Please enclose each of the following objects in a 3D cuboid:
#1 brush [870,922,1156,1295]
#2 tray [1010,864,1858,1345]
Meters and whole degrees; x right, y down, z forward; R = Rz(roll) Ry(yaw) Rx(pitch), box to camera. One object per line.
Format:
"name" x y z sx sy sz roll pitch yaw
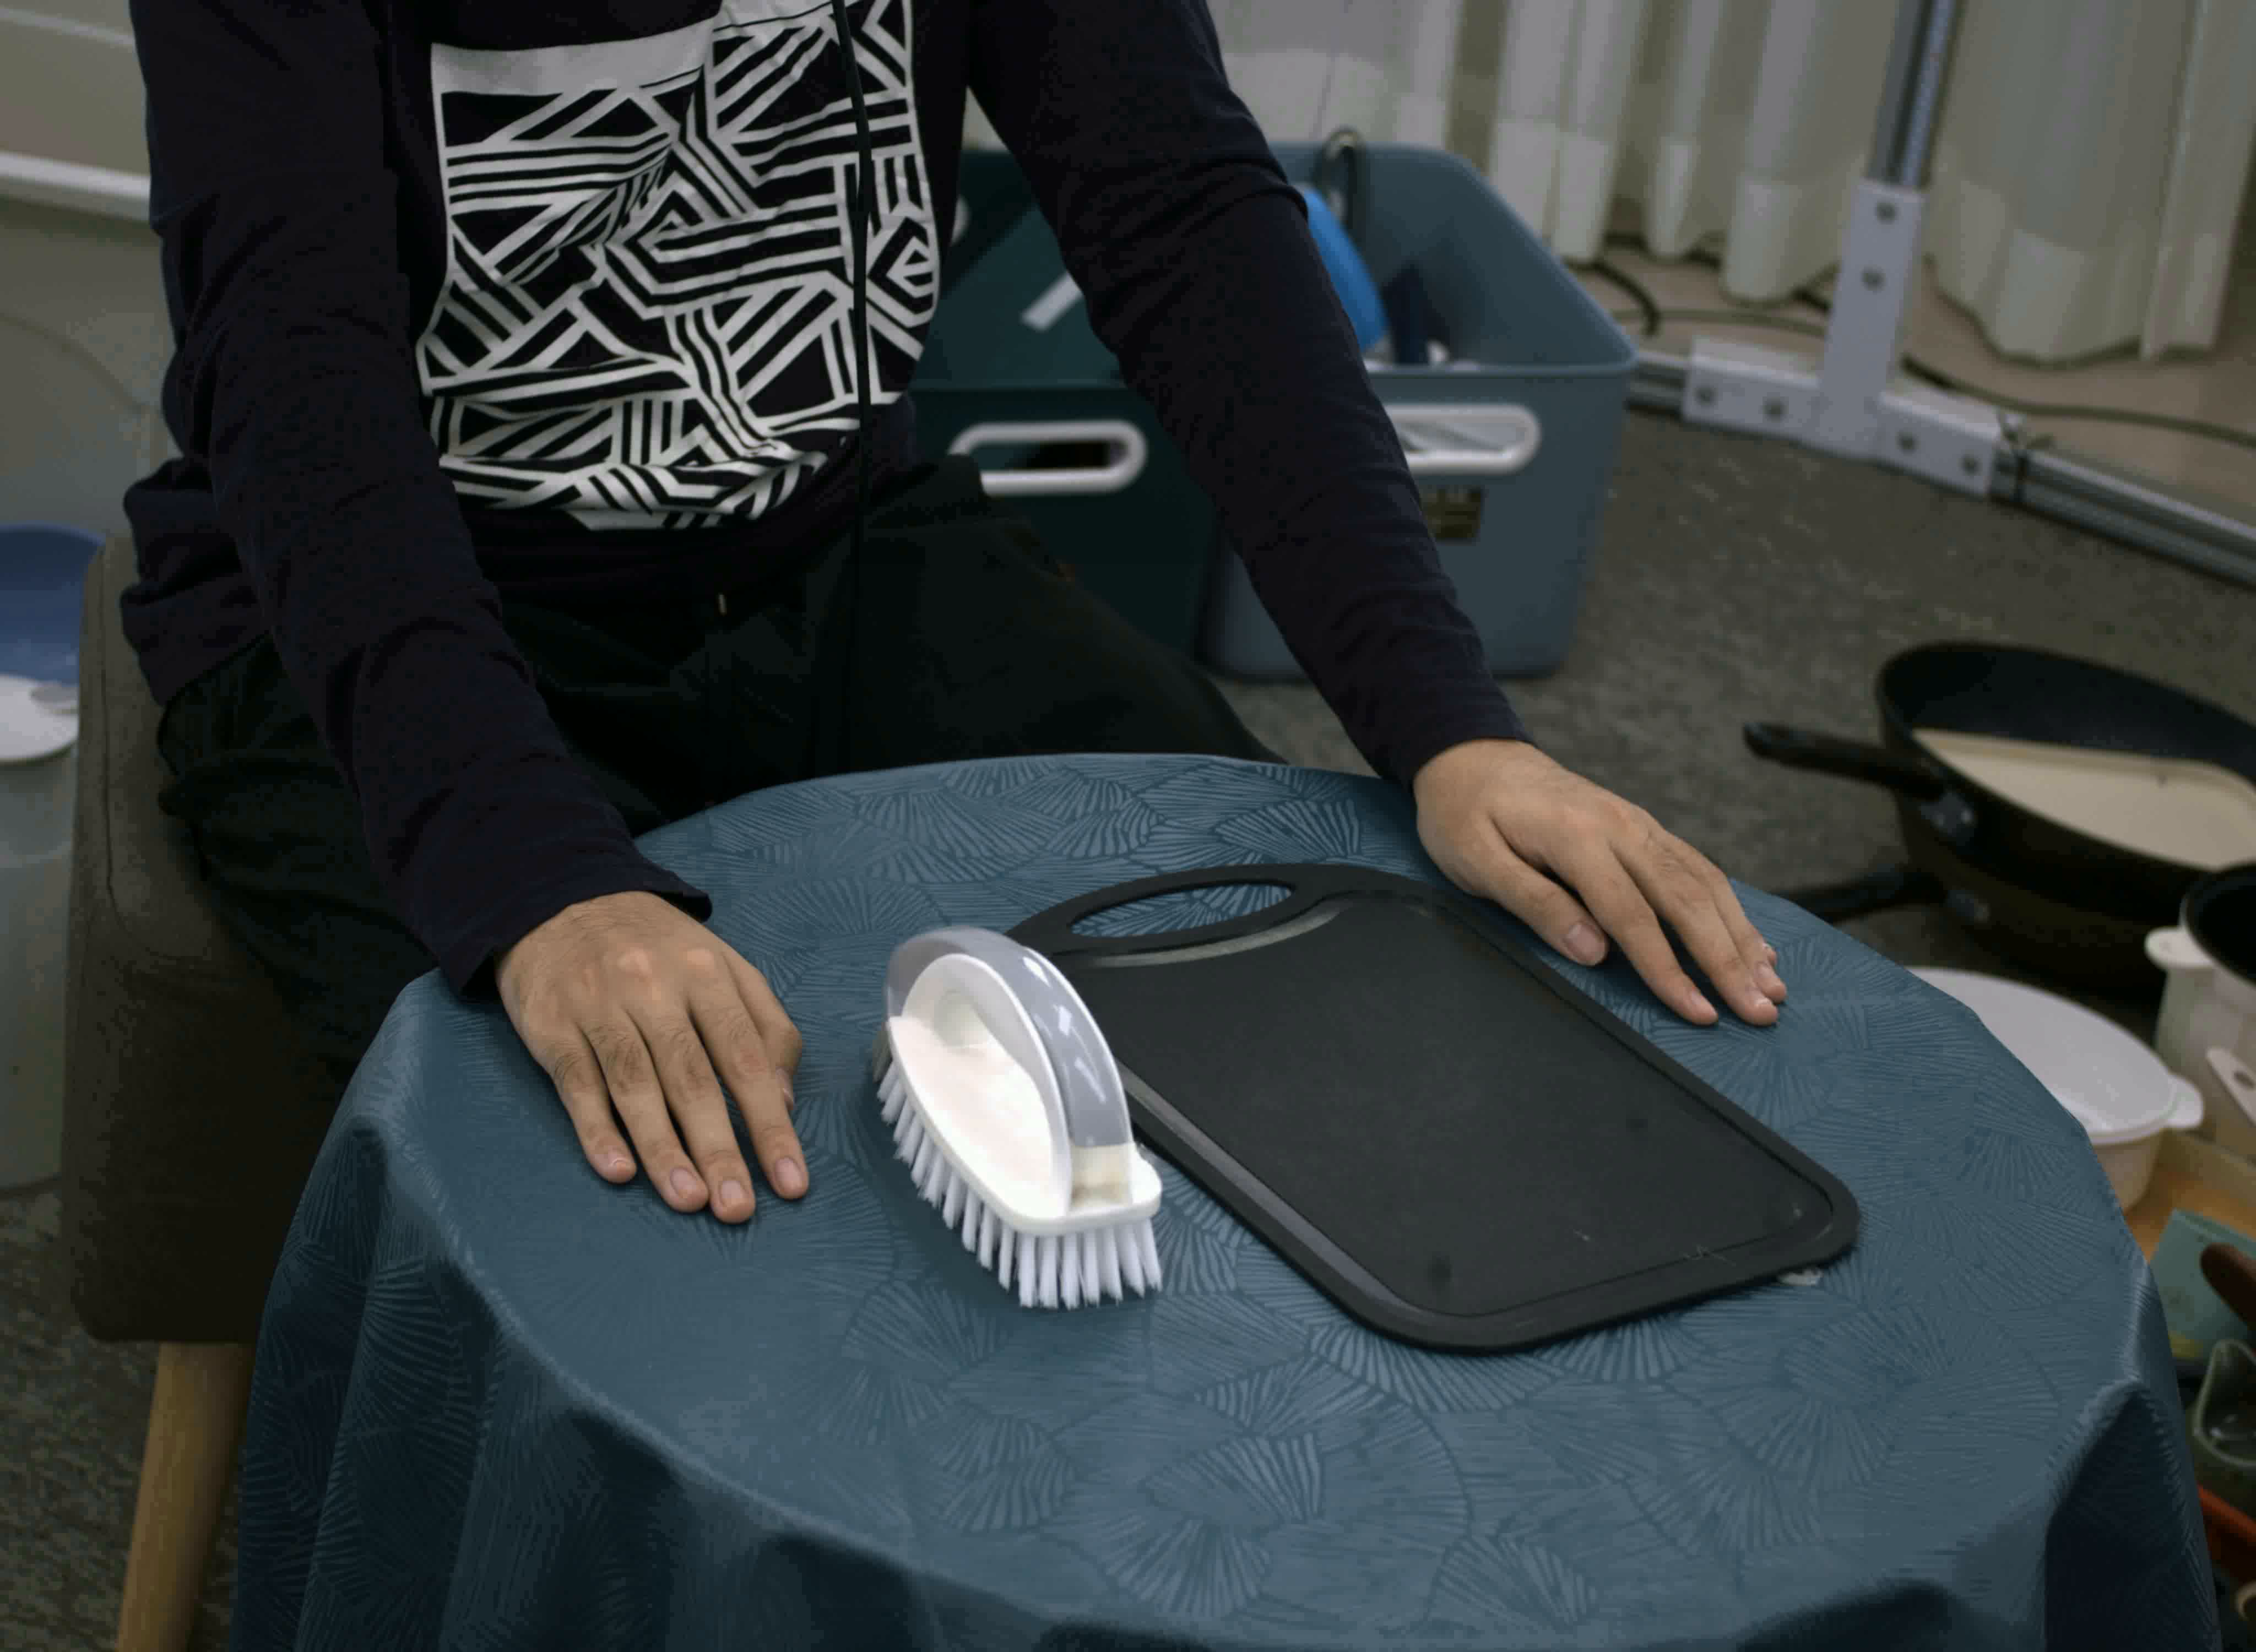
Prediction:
"brush" -0.045 0.079 1.784 0.061 0.094 0.177 -6 27 -25
"tray" 0.095 0.089 1.887 0.210 0.010 0.328 -11 31 -30
